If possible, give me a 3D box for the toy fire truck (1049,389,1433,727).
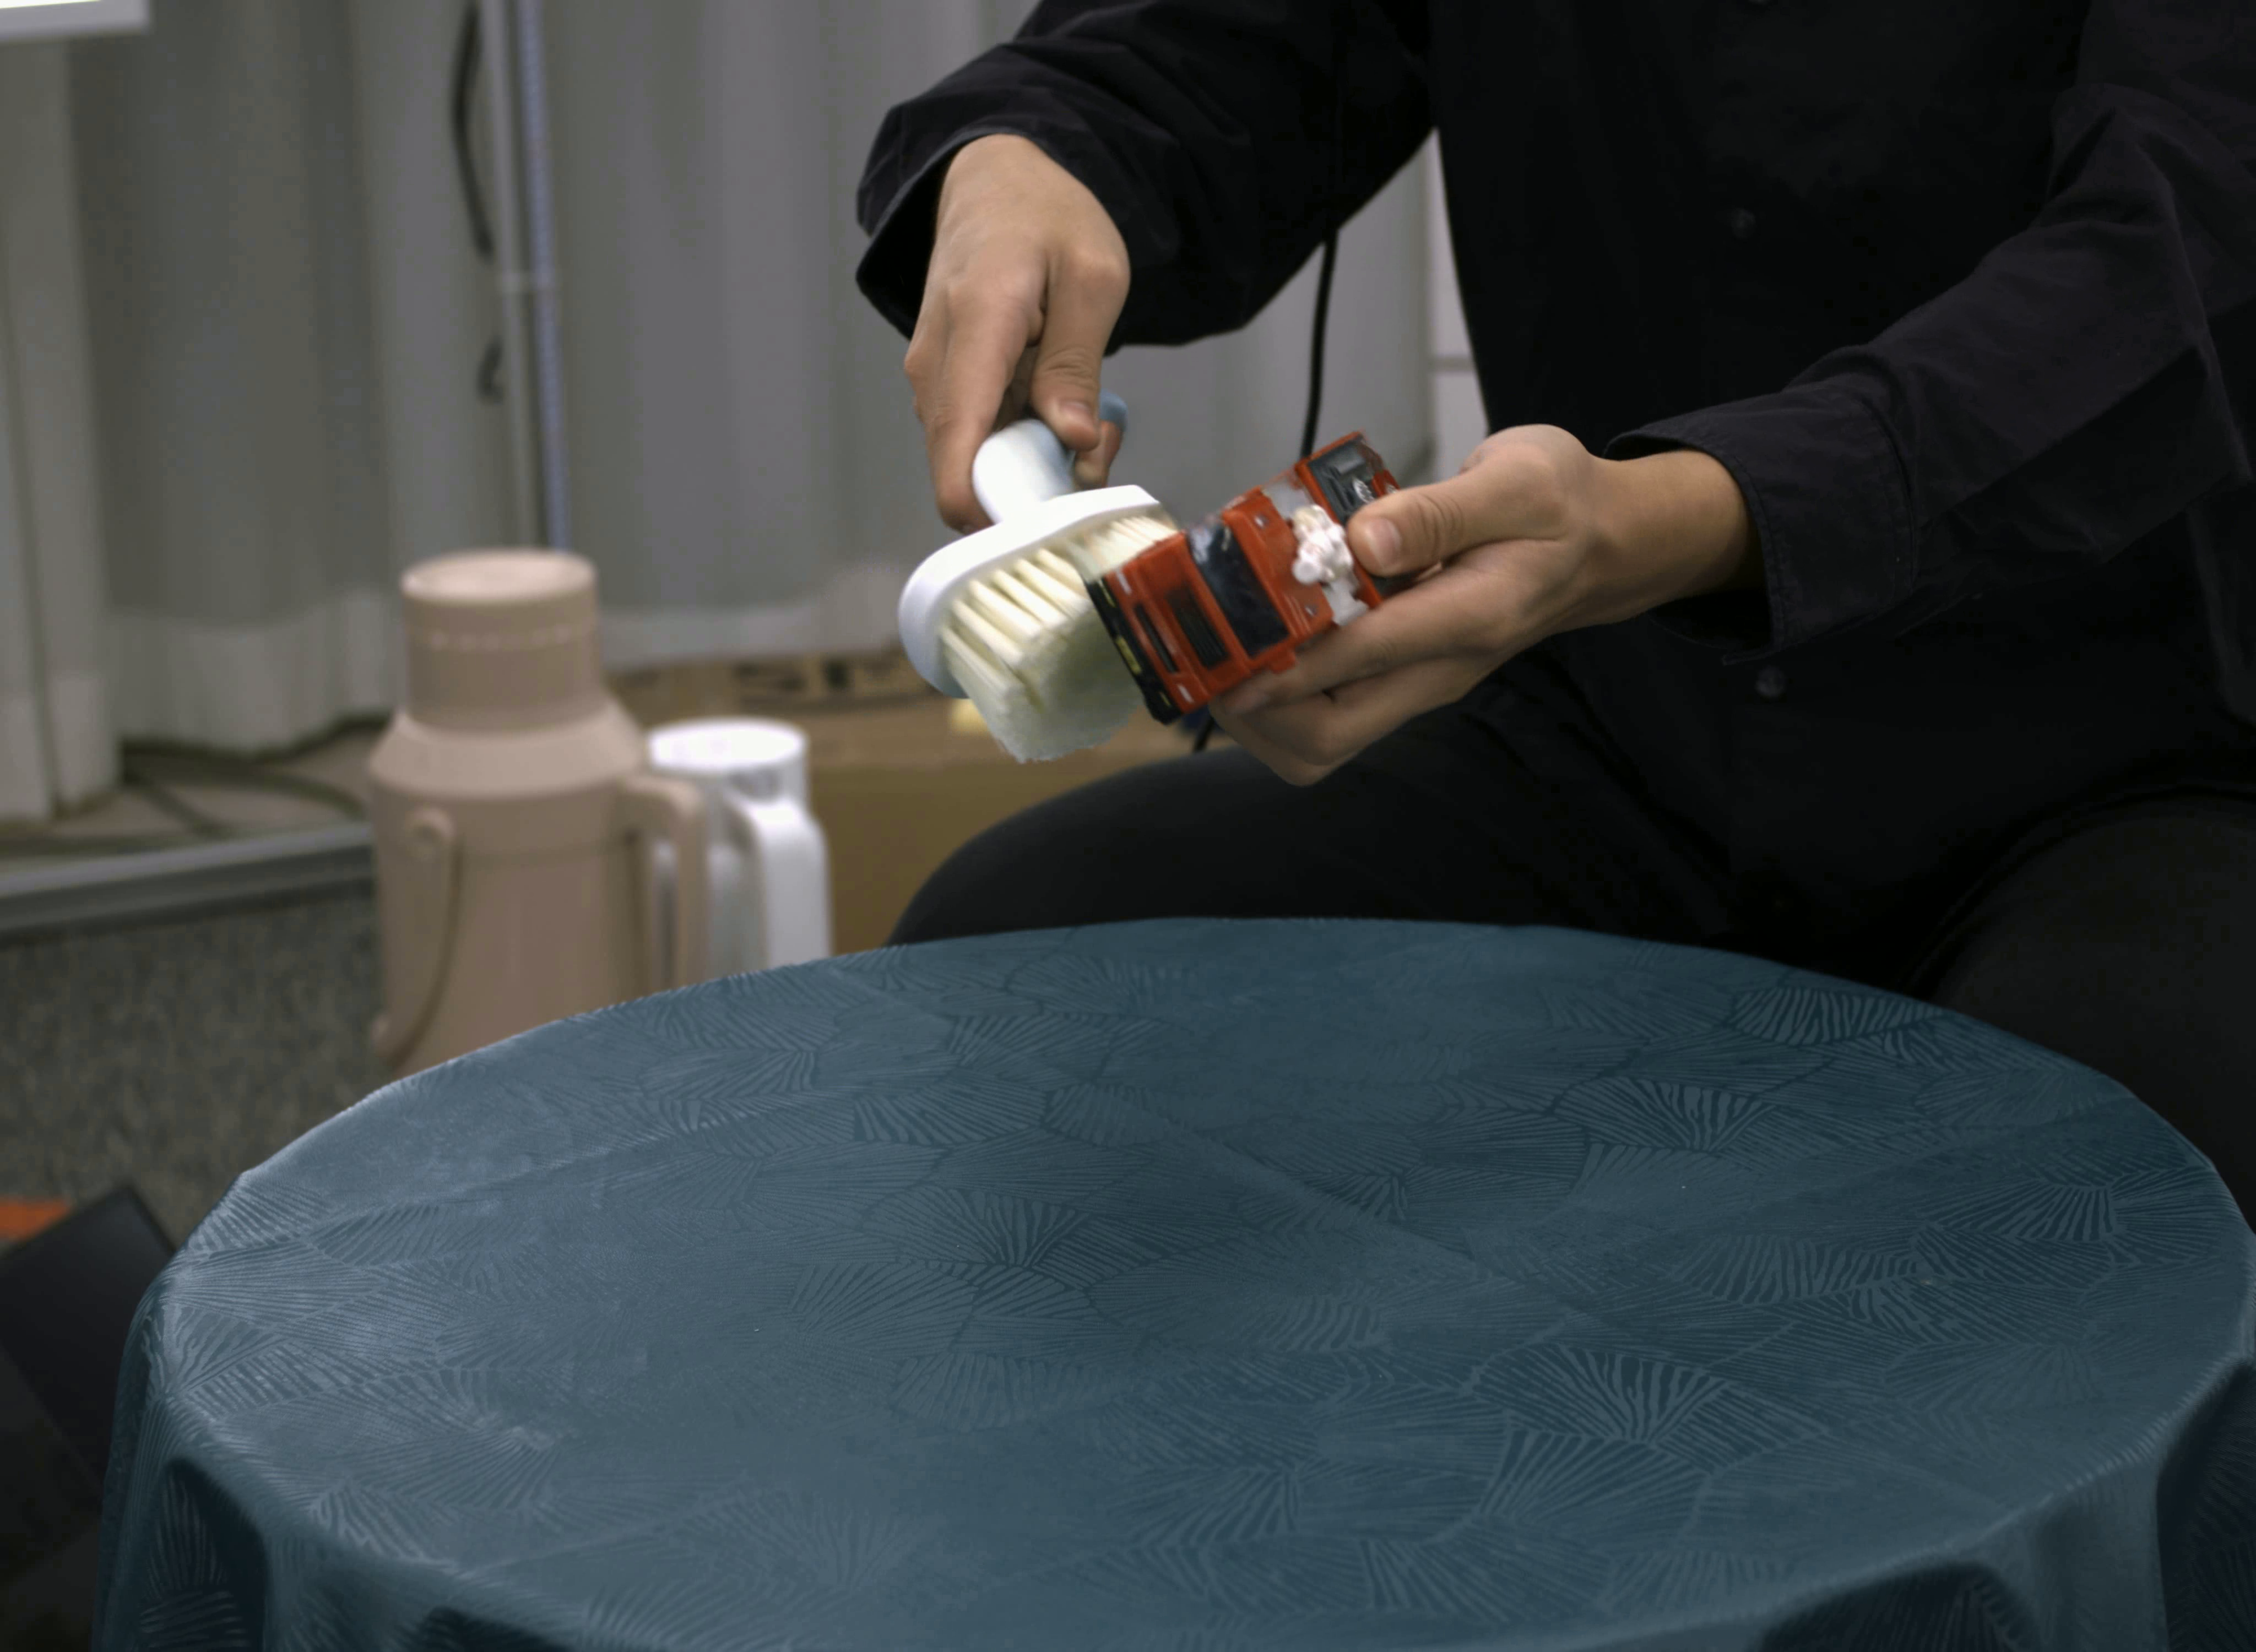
[{"bbox_3d":[0.035,-0.075,1.441,0.071,0.054,0.166,-29,3,19],"label":"toy fire truck"}]

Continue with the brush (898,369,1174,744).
[{"bbox_3d":[-0.002,-0.083,1.559,0.083,0.084,0.324,-19,9,12],"label":"brush"}]
